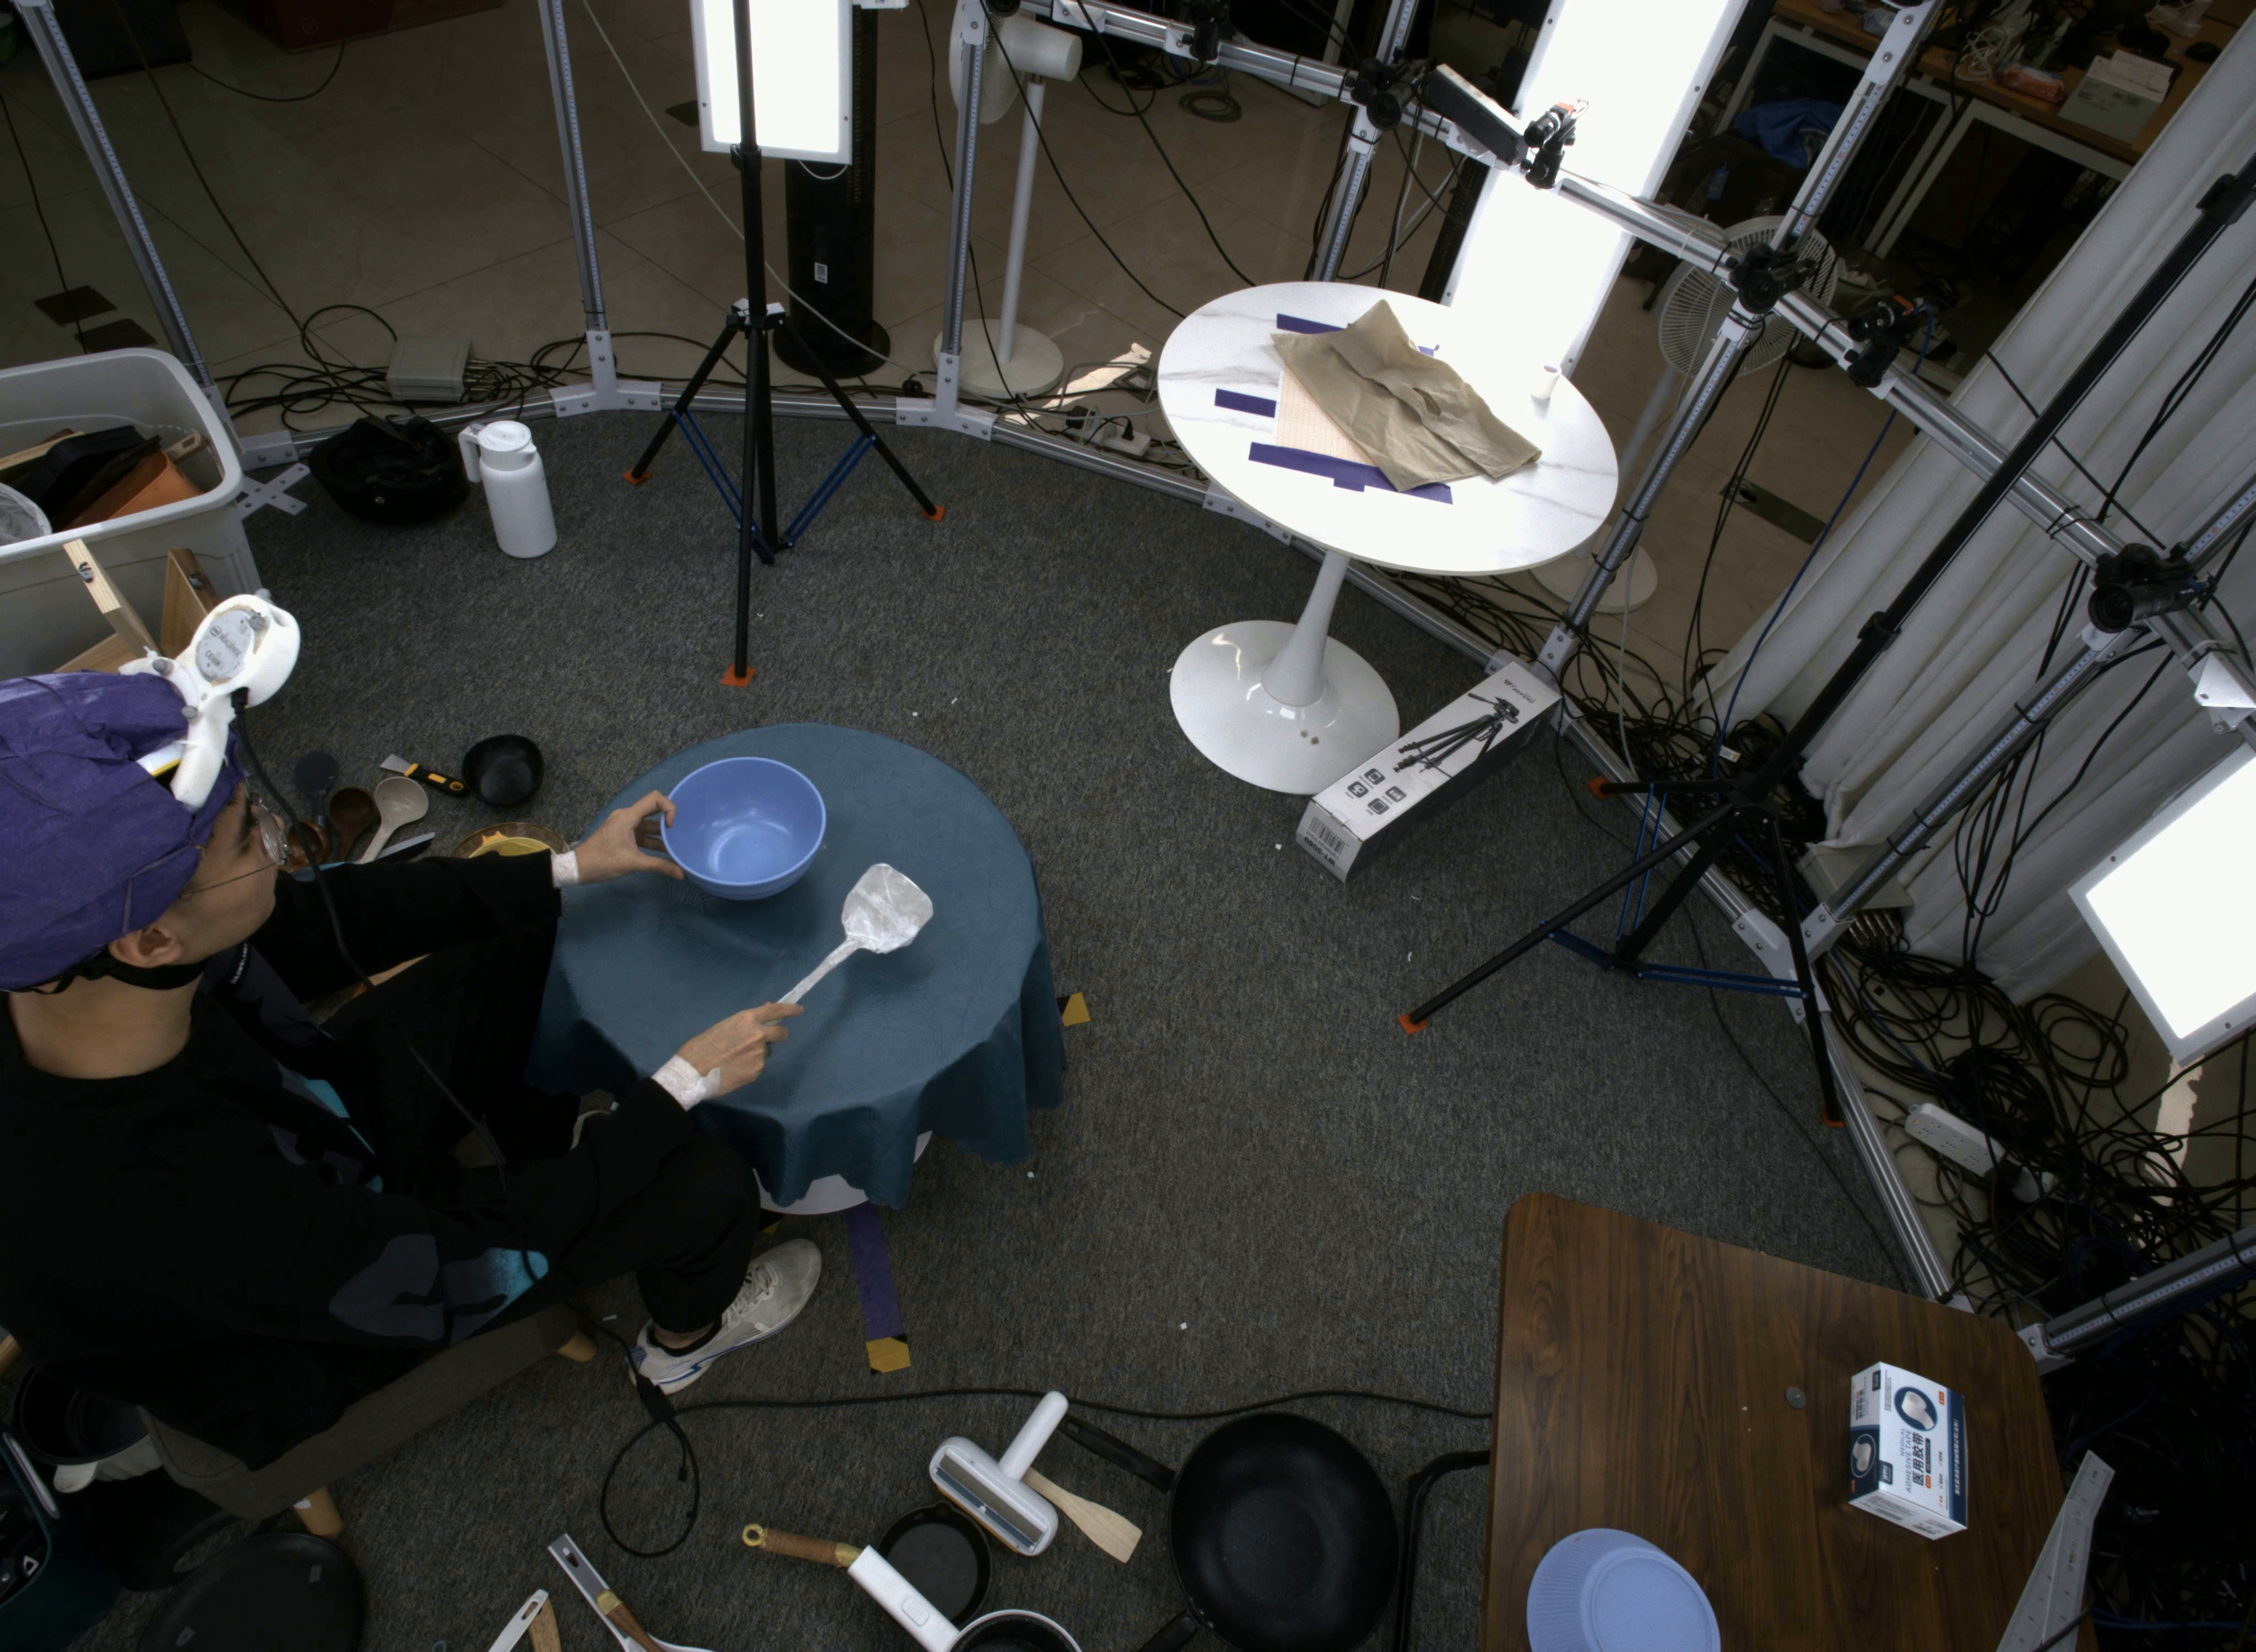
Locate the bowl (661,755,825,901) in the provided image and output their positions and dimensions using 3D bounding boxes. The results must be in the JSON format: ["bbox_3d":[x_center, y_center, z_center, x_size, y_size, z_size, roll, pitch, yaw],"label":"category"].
[{"bbox_3d":[-0.475,0.017,1.608,0.196,0.097,0.193,7,54,-8],"label":"bowl"}]

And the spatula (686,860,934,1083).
[{"bbox_3d":[-0.370,0.173,1.507,0.098,0.045,0.364,43,50,2],"label":"spatula"}]
